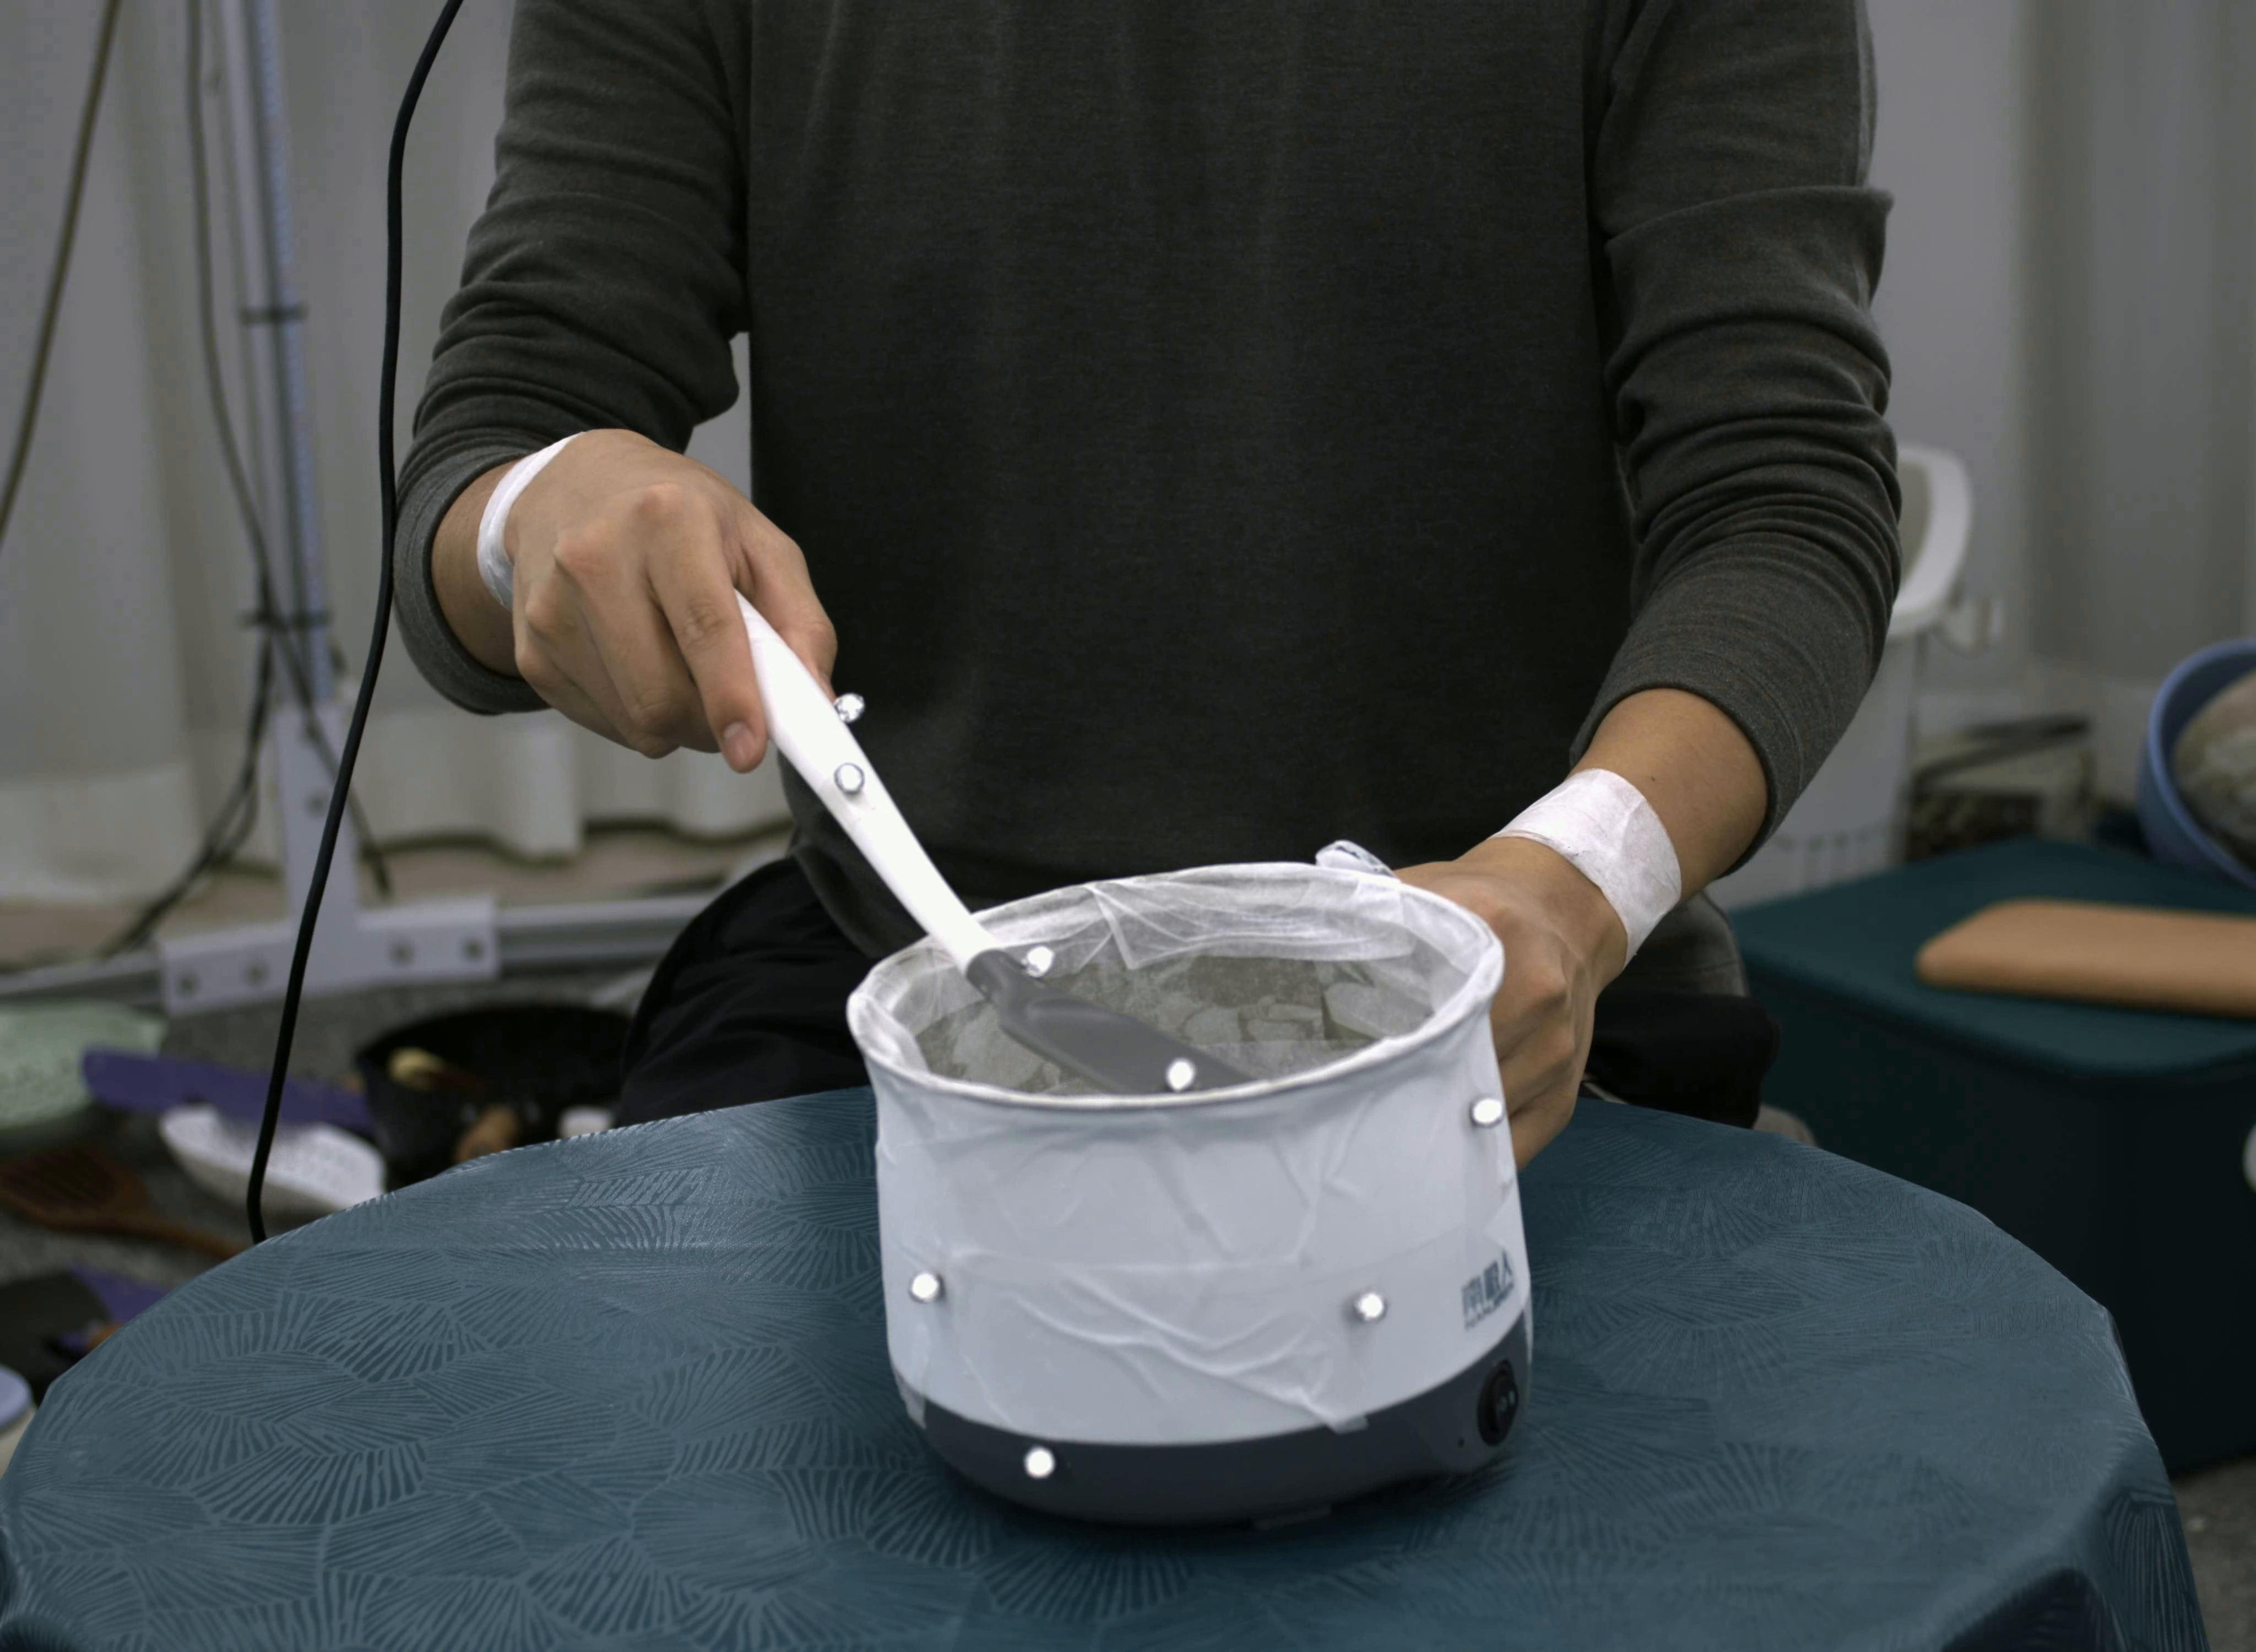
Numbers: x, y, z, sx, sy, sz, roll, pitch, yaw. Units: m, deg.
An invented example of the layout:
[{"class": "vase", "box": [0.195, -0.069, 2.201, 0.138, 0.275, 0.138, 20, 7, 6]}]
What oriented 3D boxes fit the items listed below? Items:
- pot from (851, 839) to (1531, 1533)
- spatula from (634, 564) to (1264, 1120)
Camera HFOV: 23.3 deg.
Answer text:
[{"class": "pot", "box": [0.032, 0.092, 1.507, 0.179, 0.136, 0.234, 5, 21, 28]}, {"class": "spatula", "box": [-0.055, 0.009, 1.501, 0.058, 0.032, 0.291, 6, 26, -39]}]
